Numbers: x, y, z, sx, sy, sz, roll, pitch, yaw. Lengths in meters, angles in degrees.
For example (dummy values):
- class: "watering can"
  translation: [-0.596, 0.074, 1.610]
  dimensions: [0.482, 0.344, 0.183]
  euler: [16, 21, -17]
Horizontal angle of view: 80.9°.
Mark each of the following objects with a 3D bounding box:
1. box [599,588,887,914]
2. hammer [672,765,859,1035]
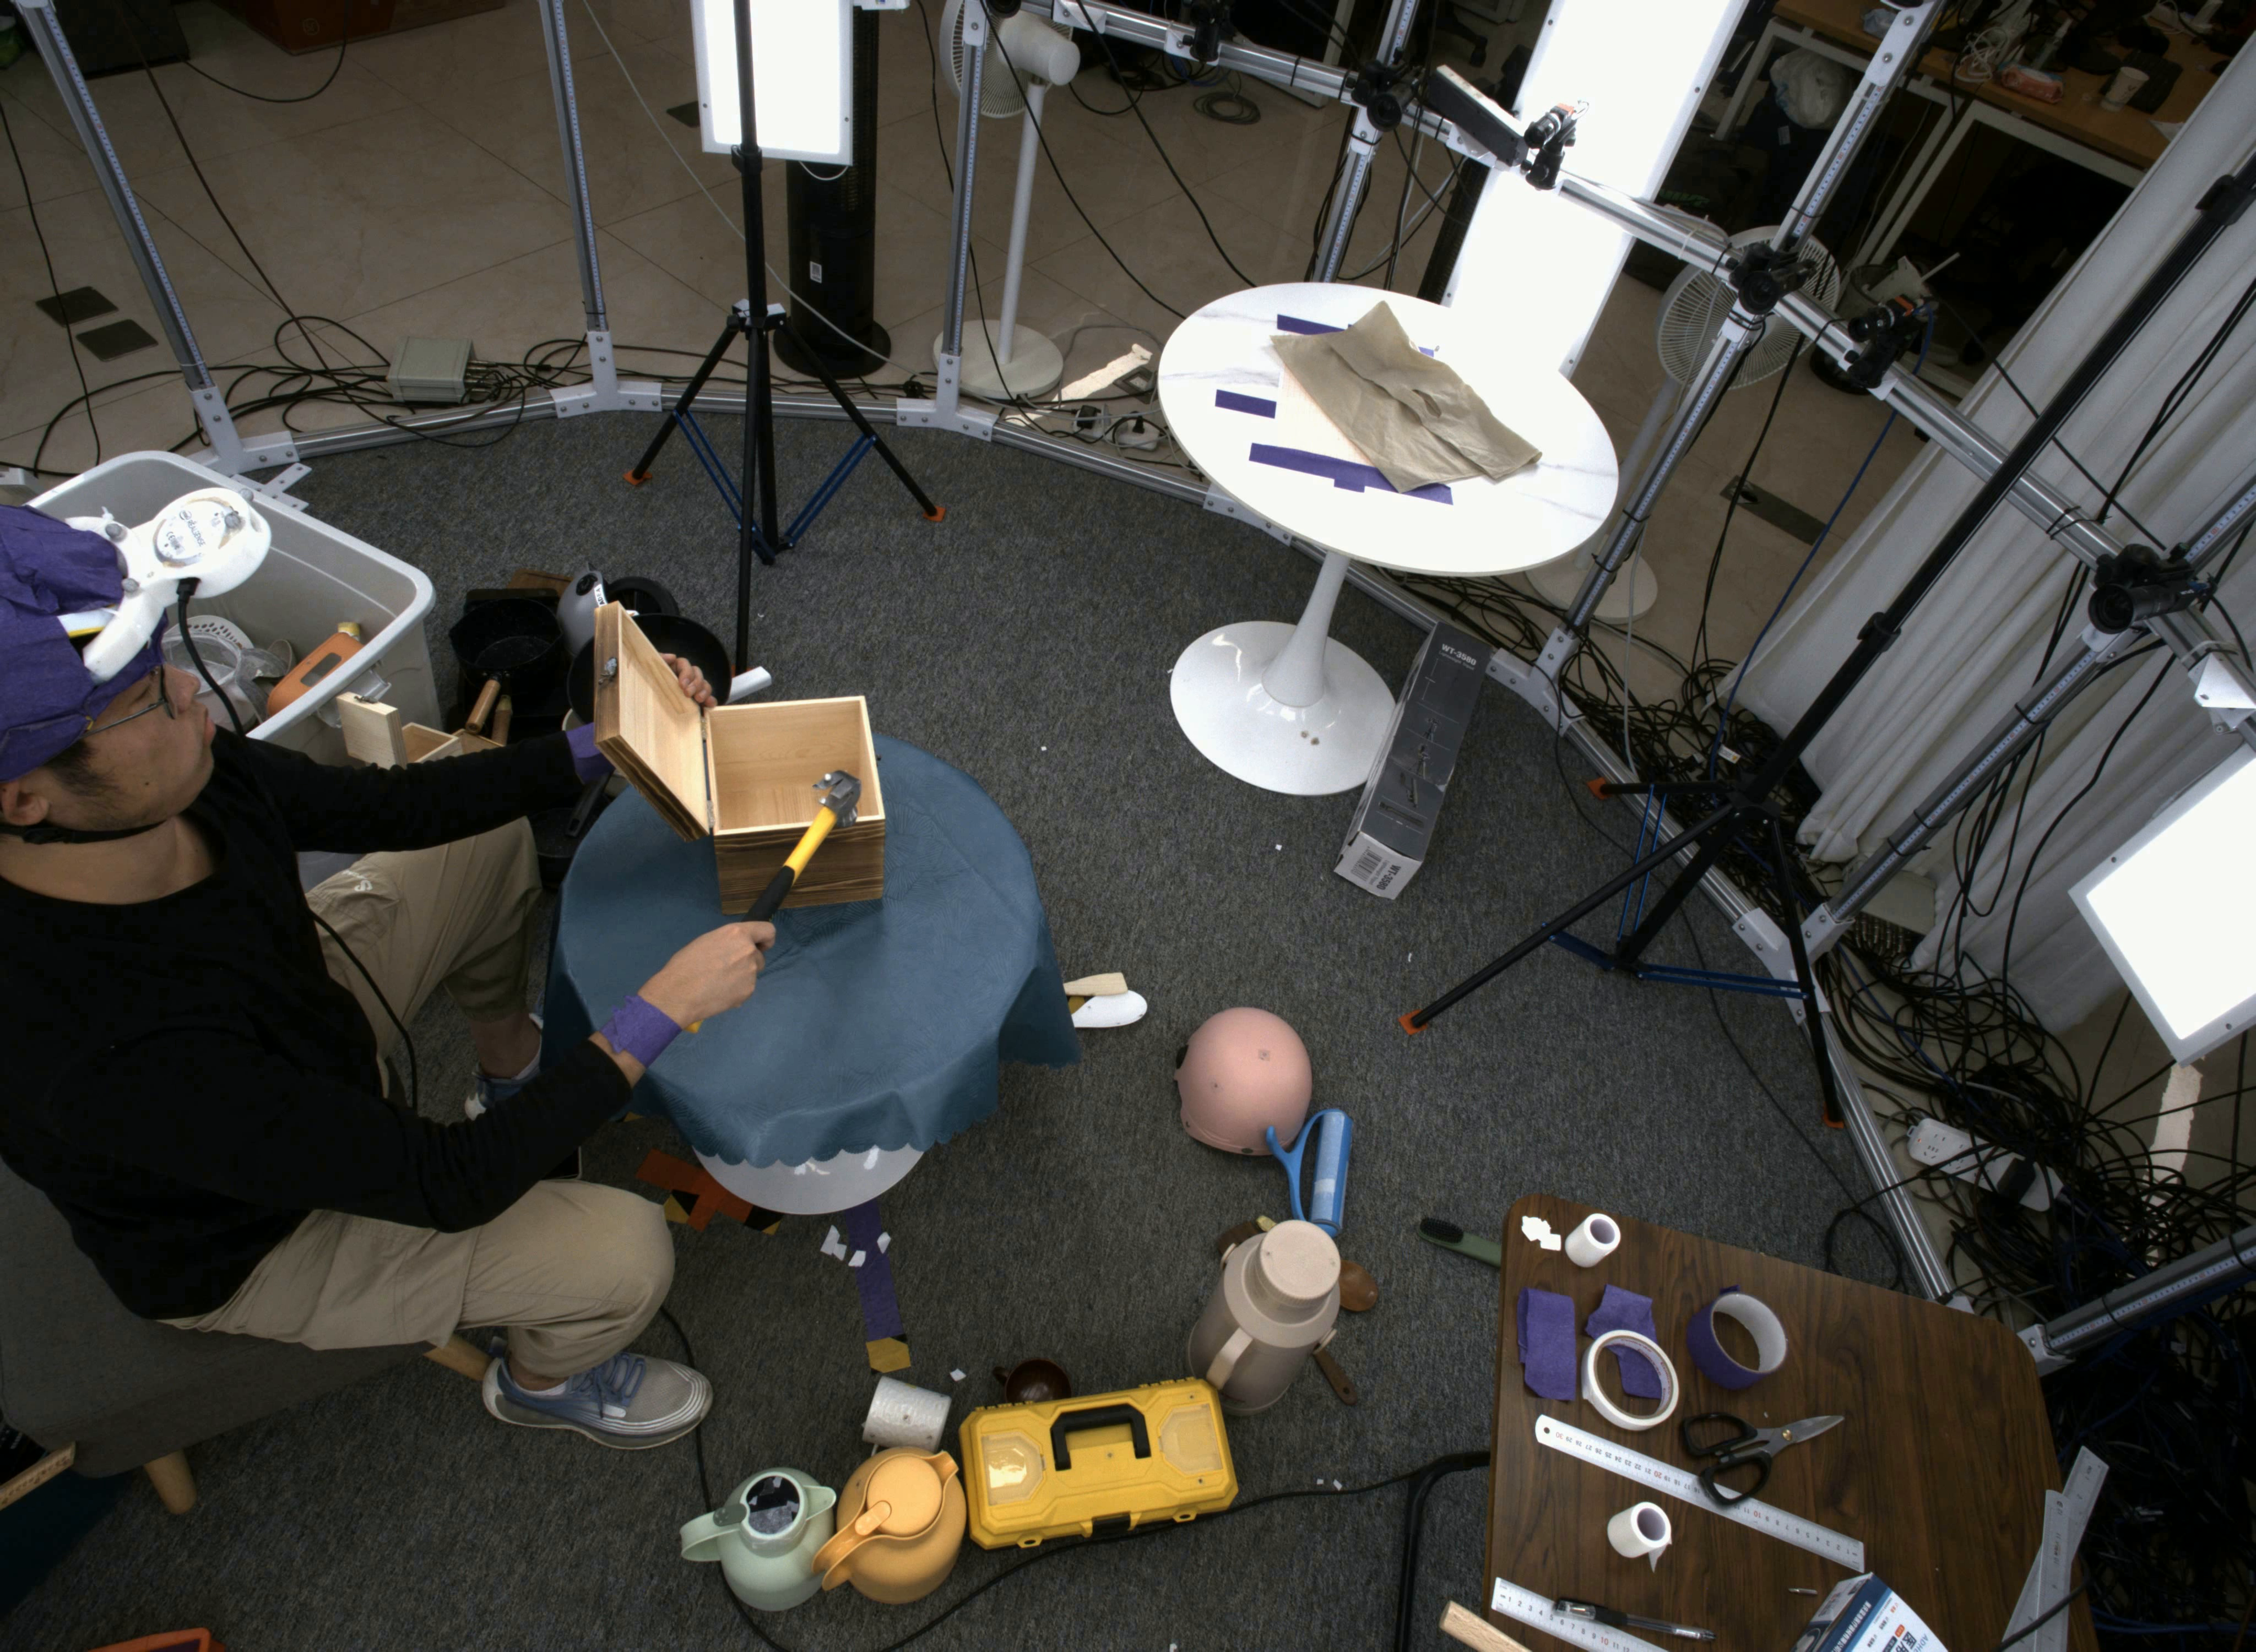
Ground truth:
- class: "box"
  translation: [-0.453, -0.086, 1.539]
  dimensions: [0.323, 0.383, 0.204]
  euler: [-6, 54, -18]
- class: "hammer"
  translation: [-0.385, 0.072, 1.388]
  dimensions: [0.032, 0.133, 0.337]
  euler: [27, 61, 2]
